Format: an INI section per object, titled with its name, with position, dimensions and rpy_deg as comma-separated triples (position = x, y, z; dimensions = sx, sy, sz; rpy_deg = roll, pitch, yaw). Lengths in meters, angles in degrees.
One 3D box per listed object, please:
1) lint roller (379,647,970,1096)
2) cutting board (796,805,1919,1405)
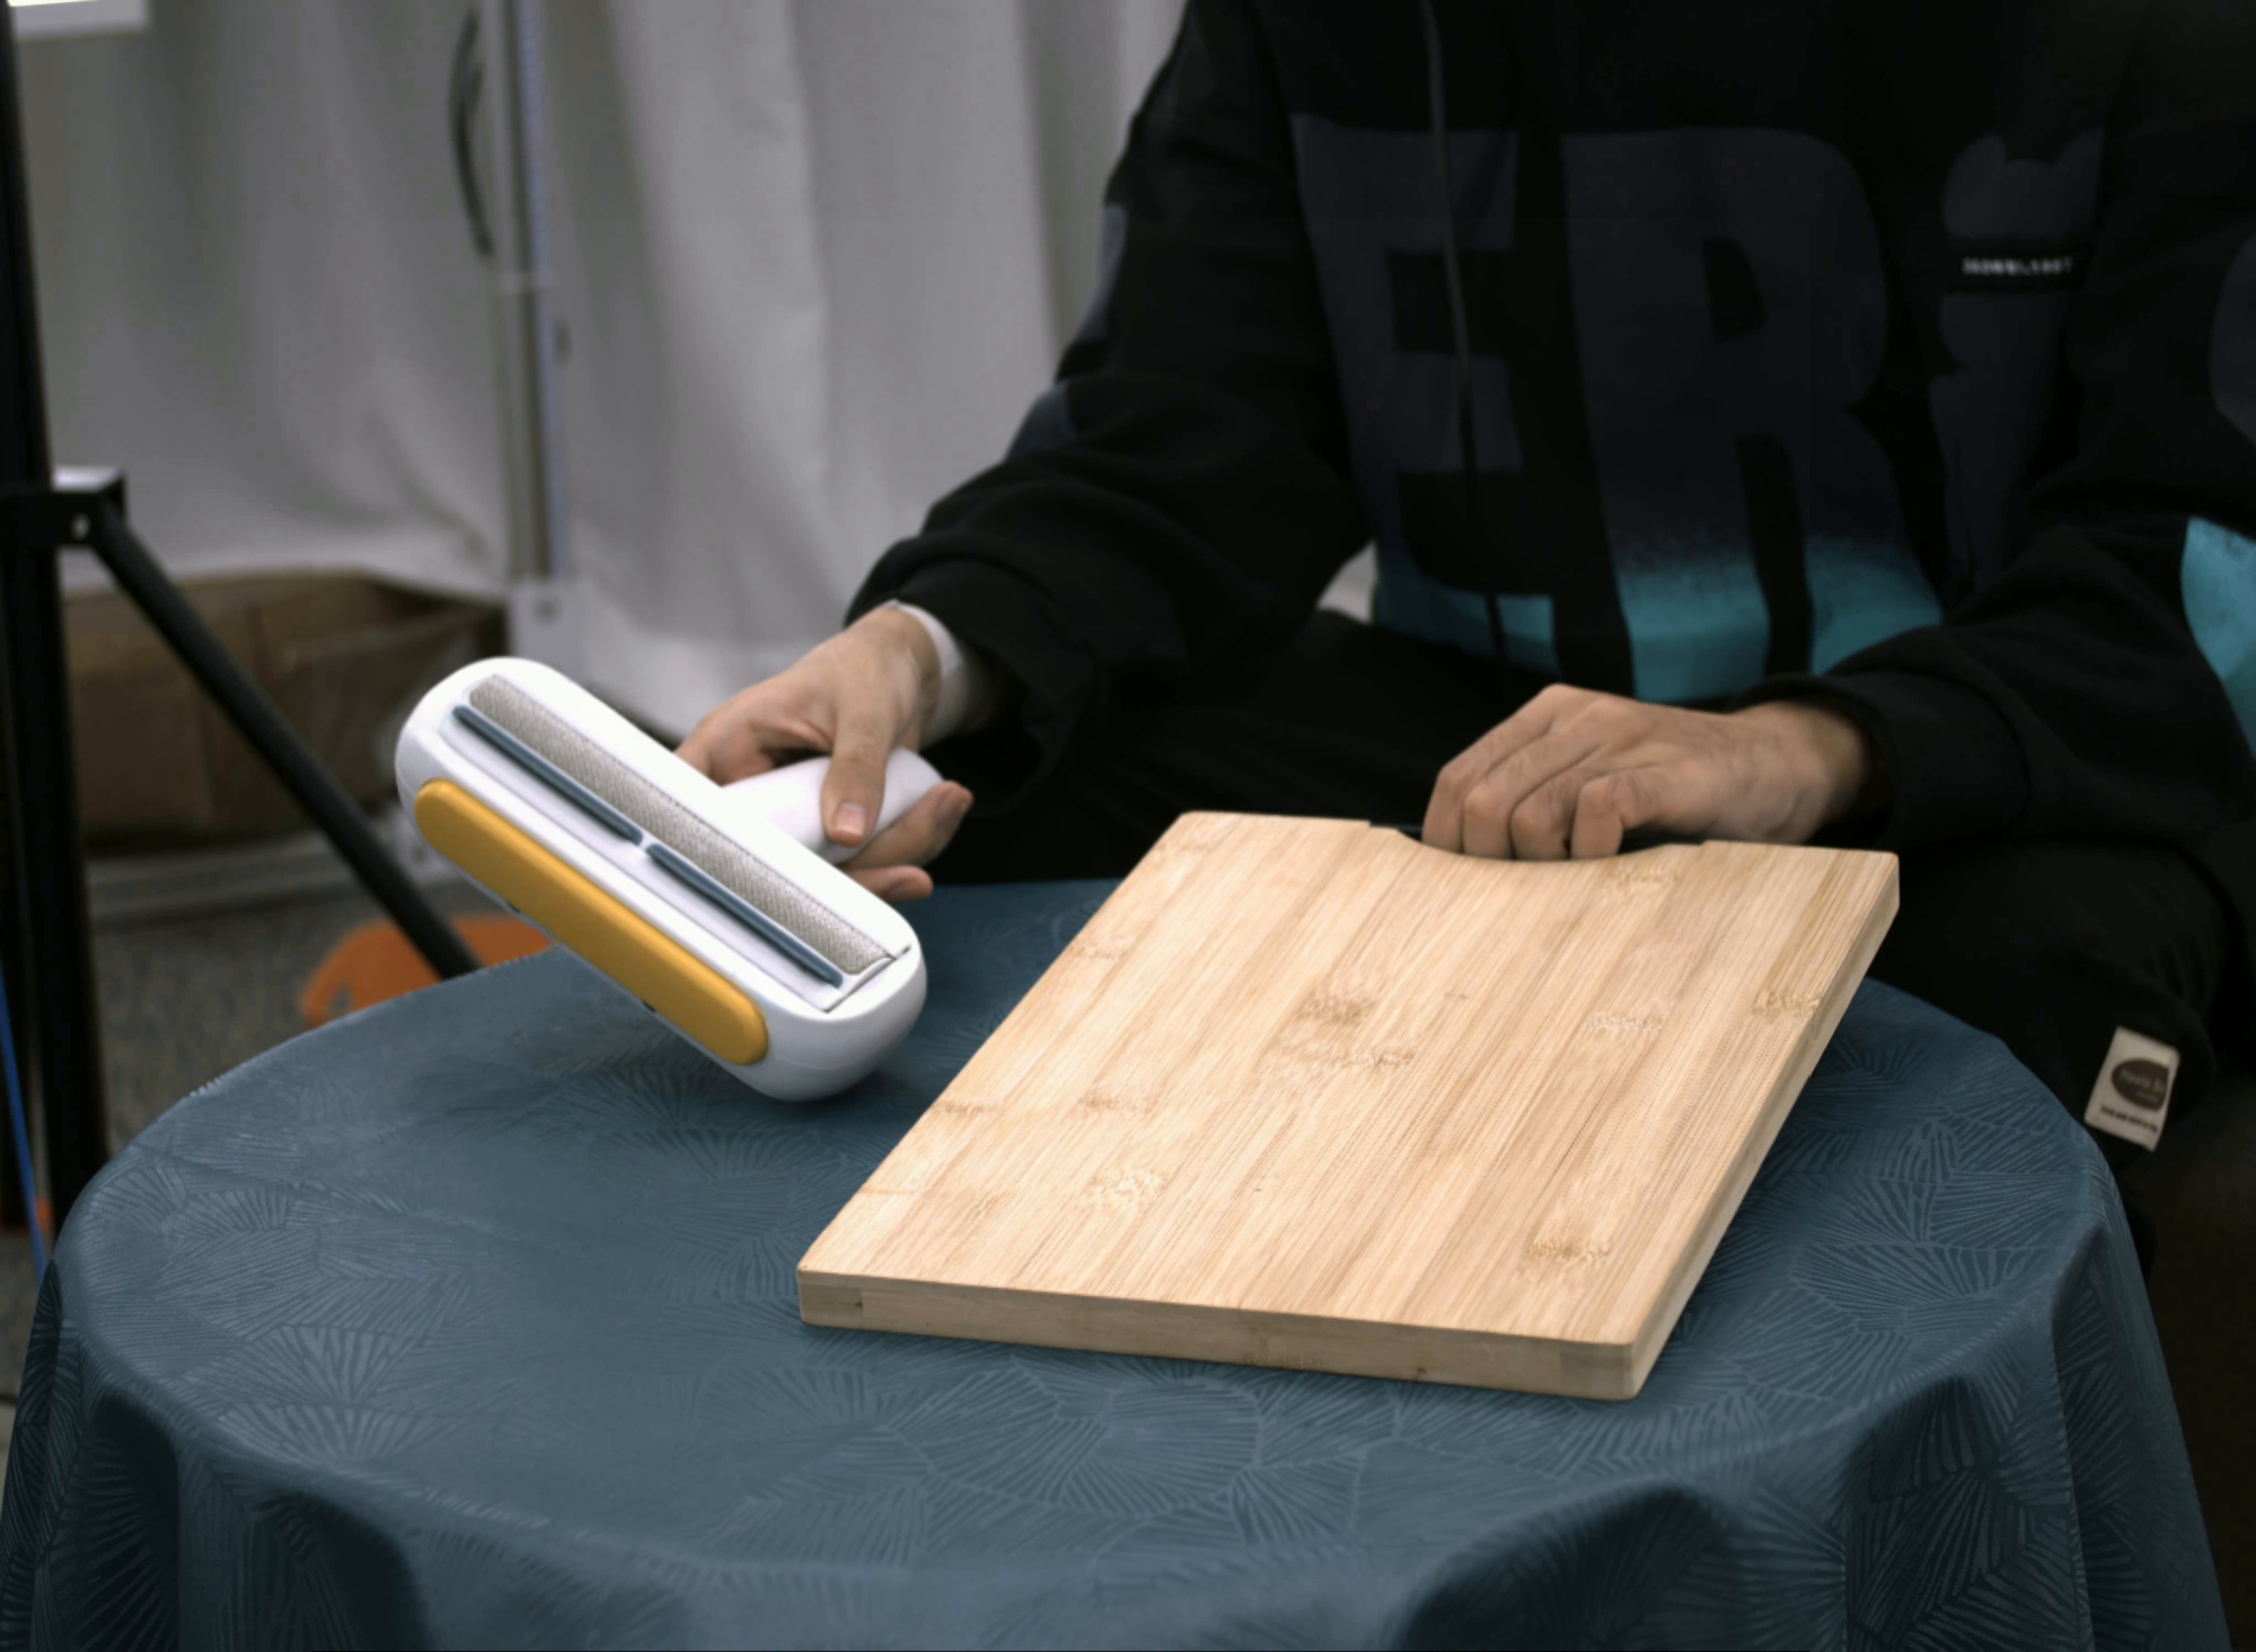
[lint roller]
position = -0.120, 0.001, 1.727
dimensions = 0.196, 0.074, 0.189
rpy_deg = 33, 38, 27
[cutting board]
position = 0.078, 0.073, 1.571
dimensions = 0.253, 0.023, 0.345
rpy_deg = 3, 23, 20
